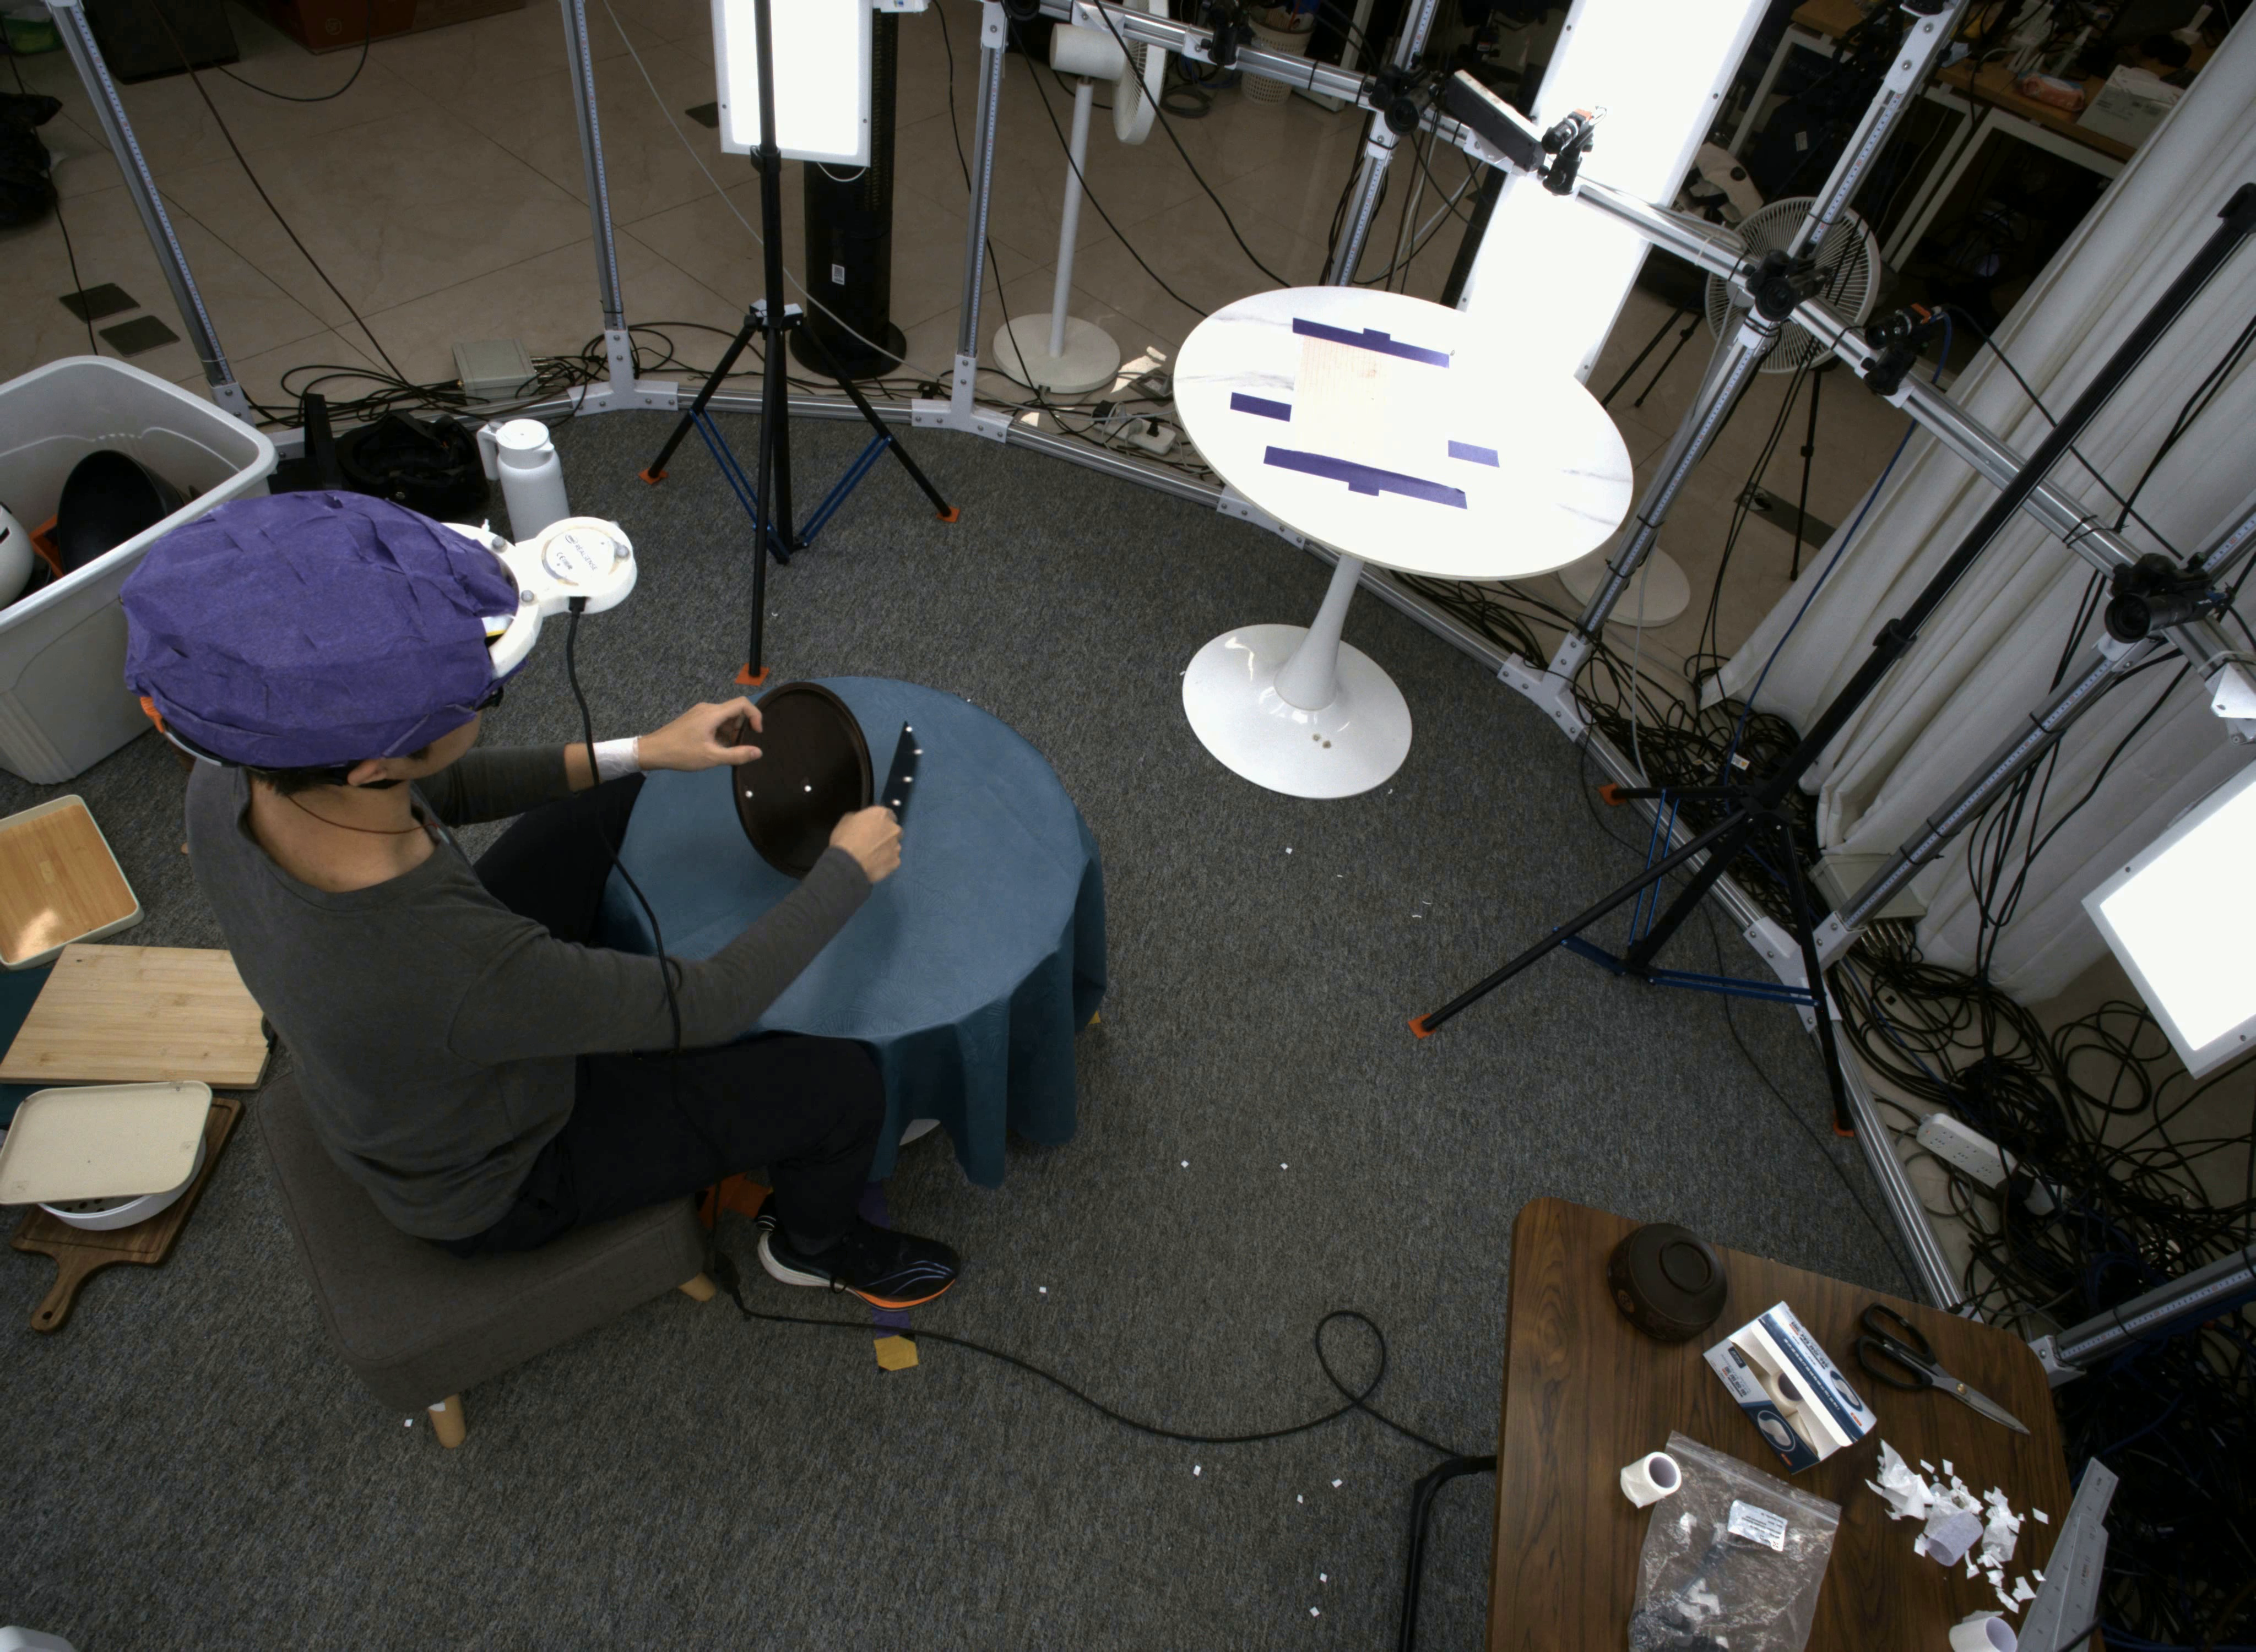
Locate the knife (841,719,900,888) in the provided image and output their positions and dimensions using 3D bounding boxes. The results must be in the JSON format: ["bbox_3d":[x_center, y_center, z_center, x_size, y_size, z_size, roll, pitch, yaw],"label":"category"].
[{"bbox_3d":[-0.332,-0.028,1.695,0.020,0.084,0.296,-4,38,7],"label":"knife"}]

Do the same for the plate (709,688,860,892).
[{"bbox_3d":[-0.430,-0.045,1.633,0.028,0.265,0.252,-3,45,29],"label":"plate"}]
